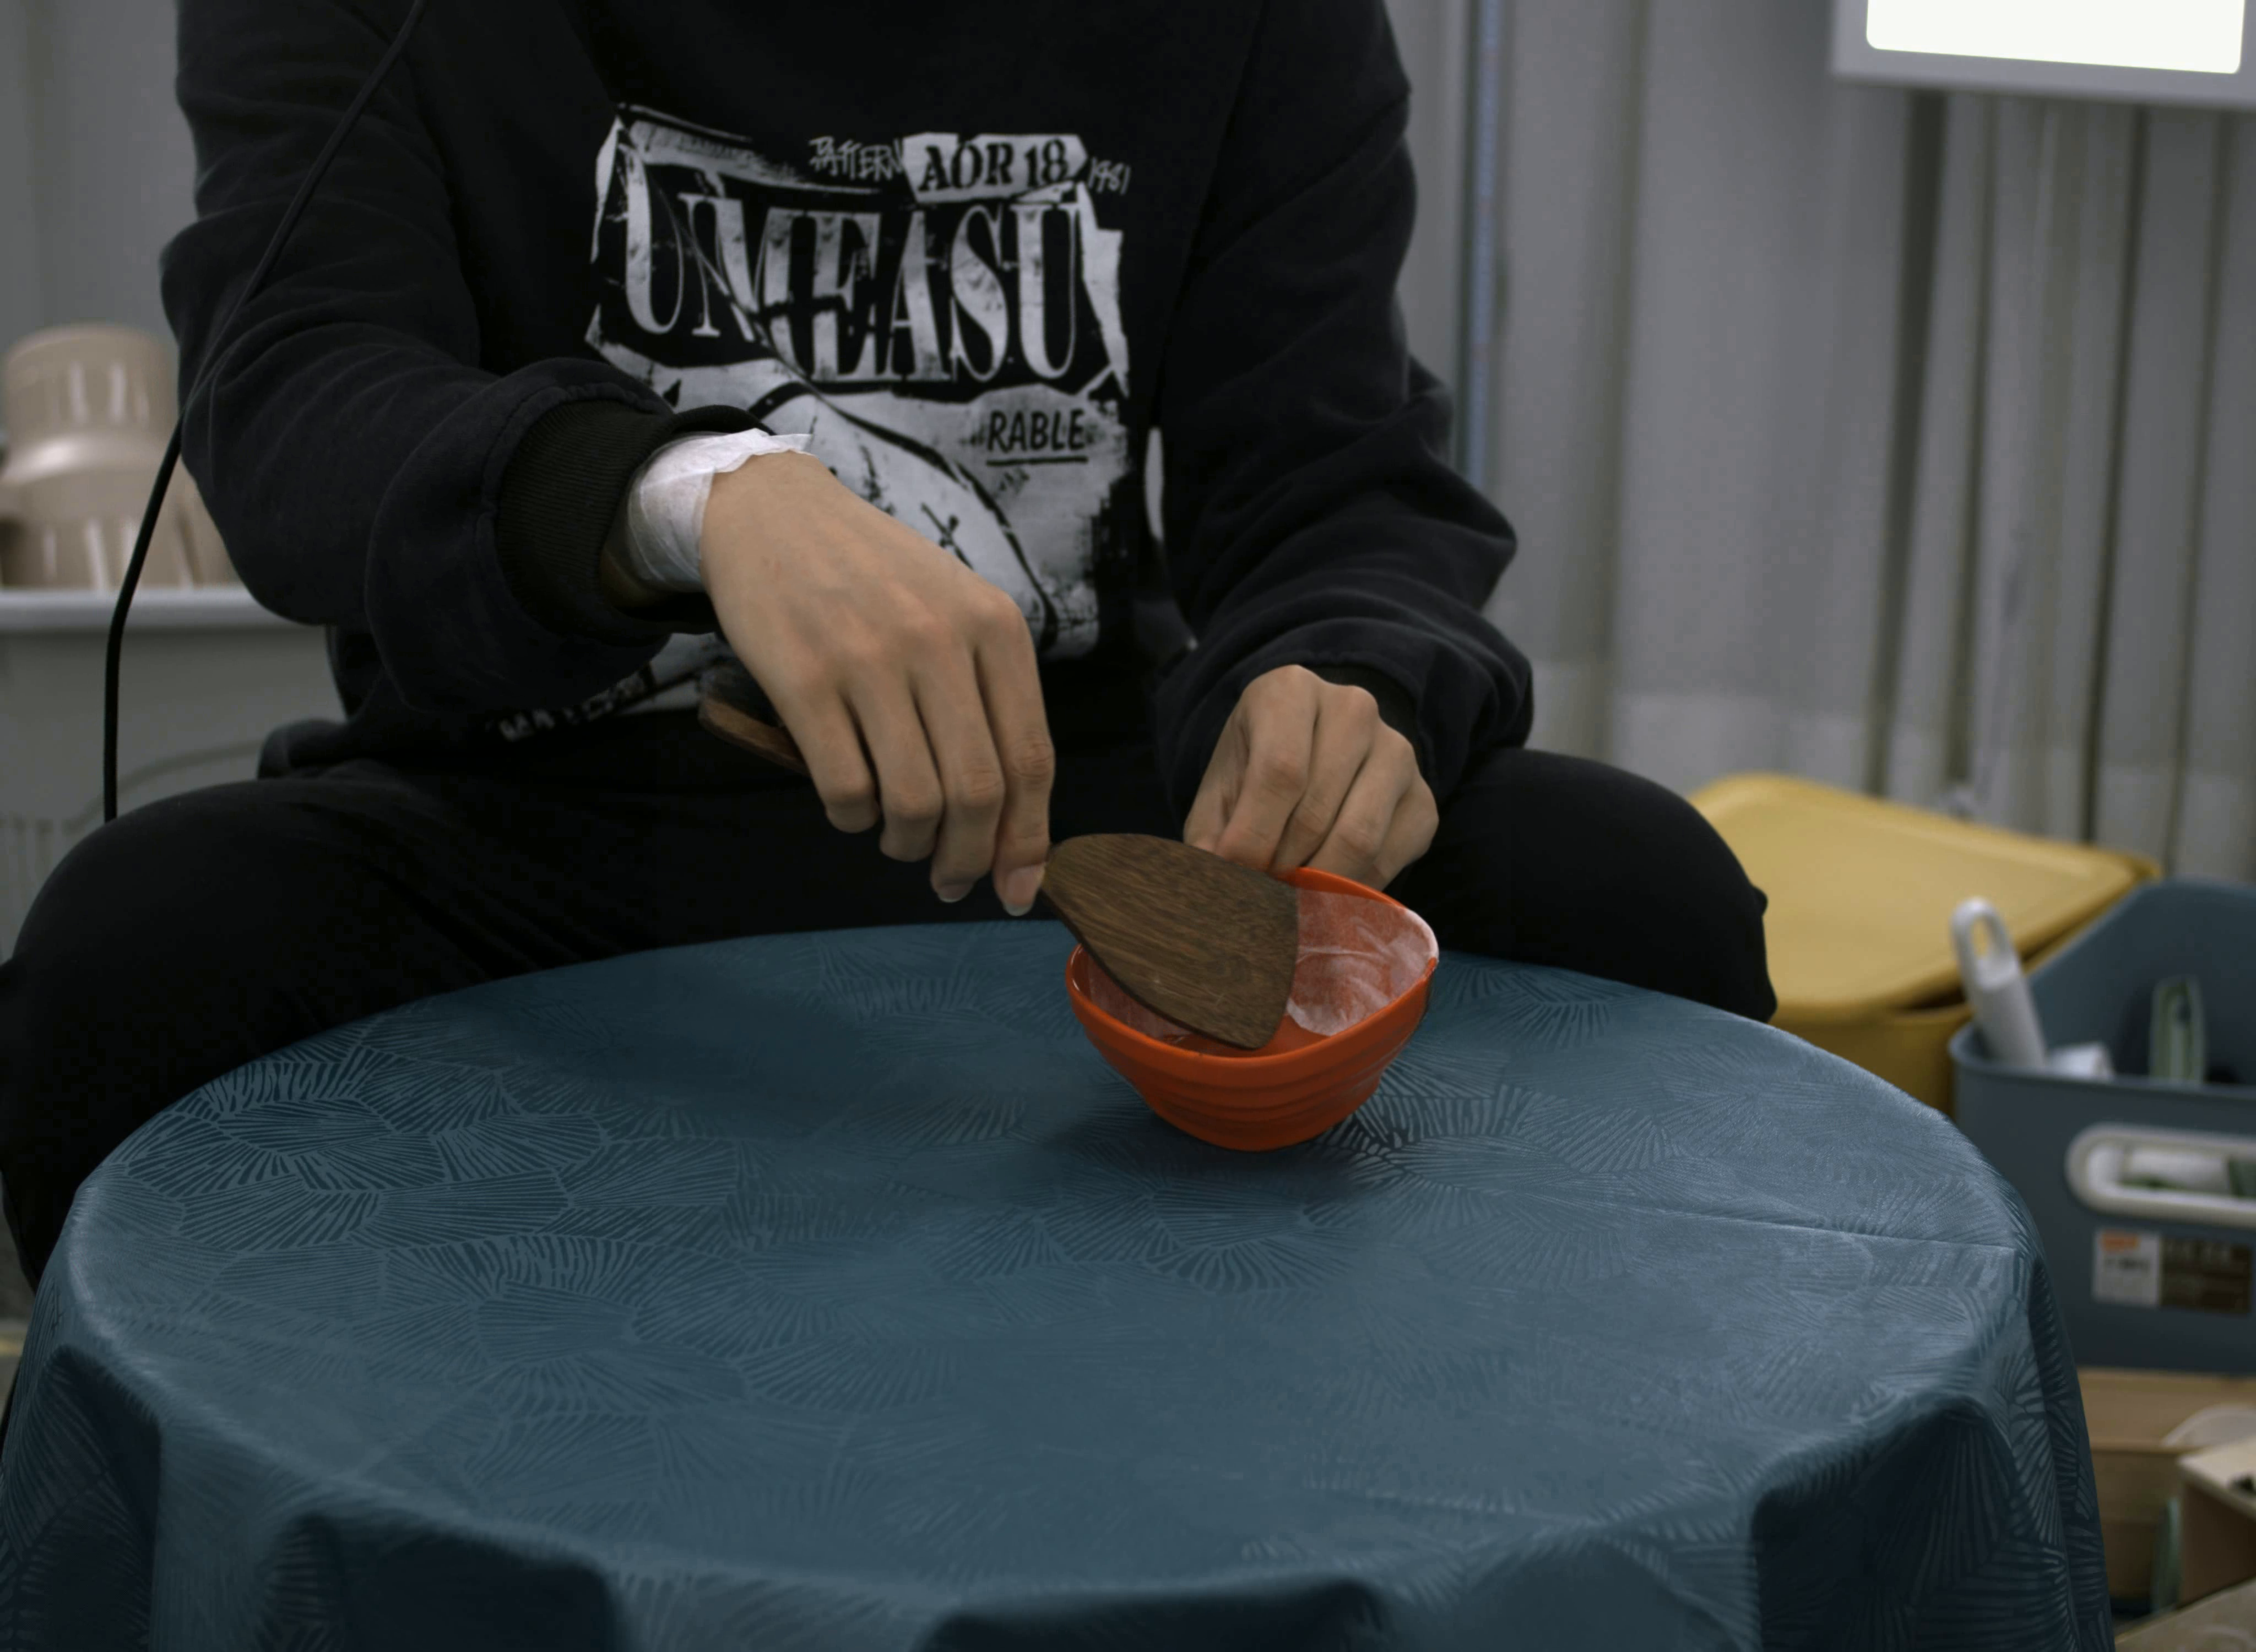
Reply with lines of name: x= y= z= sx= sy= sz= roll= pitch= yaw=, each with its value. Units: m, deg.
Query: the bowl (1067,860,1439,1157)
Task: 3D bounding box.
bowl: x=0.041 y=0.063 z=1.680 sx=0.118 sy=0.052 sz=0.118 roll=-4 pitch=32 yaw=3

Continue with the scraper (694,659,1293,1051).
scraper: x=-0.042 y=0.003 z=1.650 sx=0.212 sy=0.011 sz=0.075 roll=28 pitch=46 yaw=-15
